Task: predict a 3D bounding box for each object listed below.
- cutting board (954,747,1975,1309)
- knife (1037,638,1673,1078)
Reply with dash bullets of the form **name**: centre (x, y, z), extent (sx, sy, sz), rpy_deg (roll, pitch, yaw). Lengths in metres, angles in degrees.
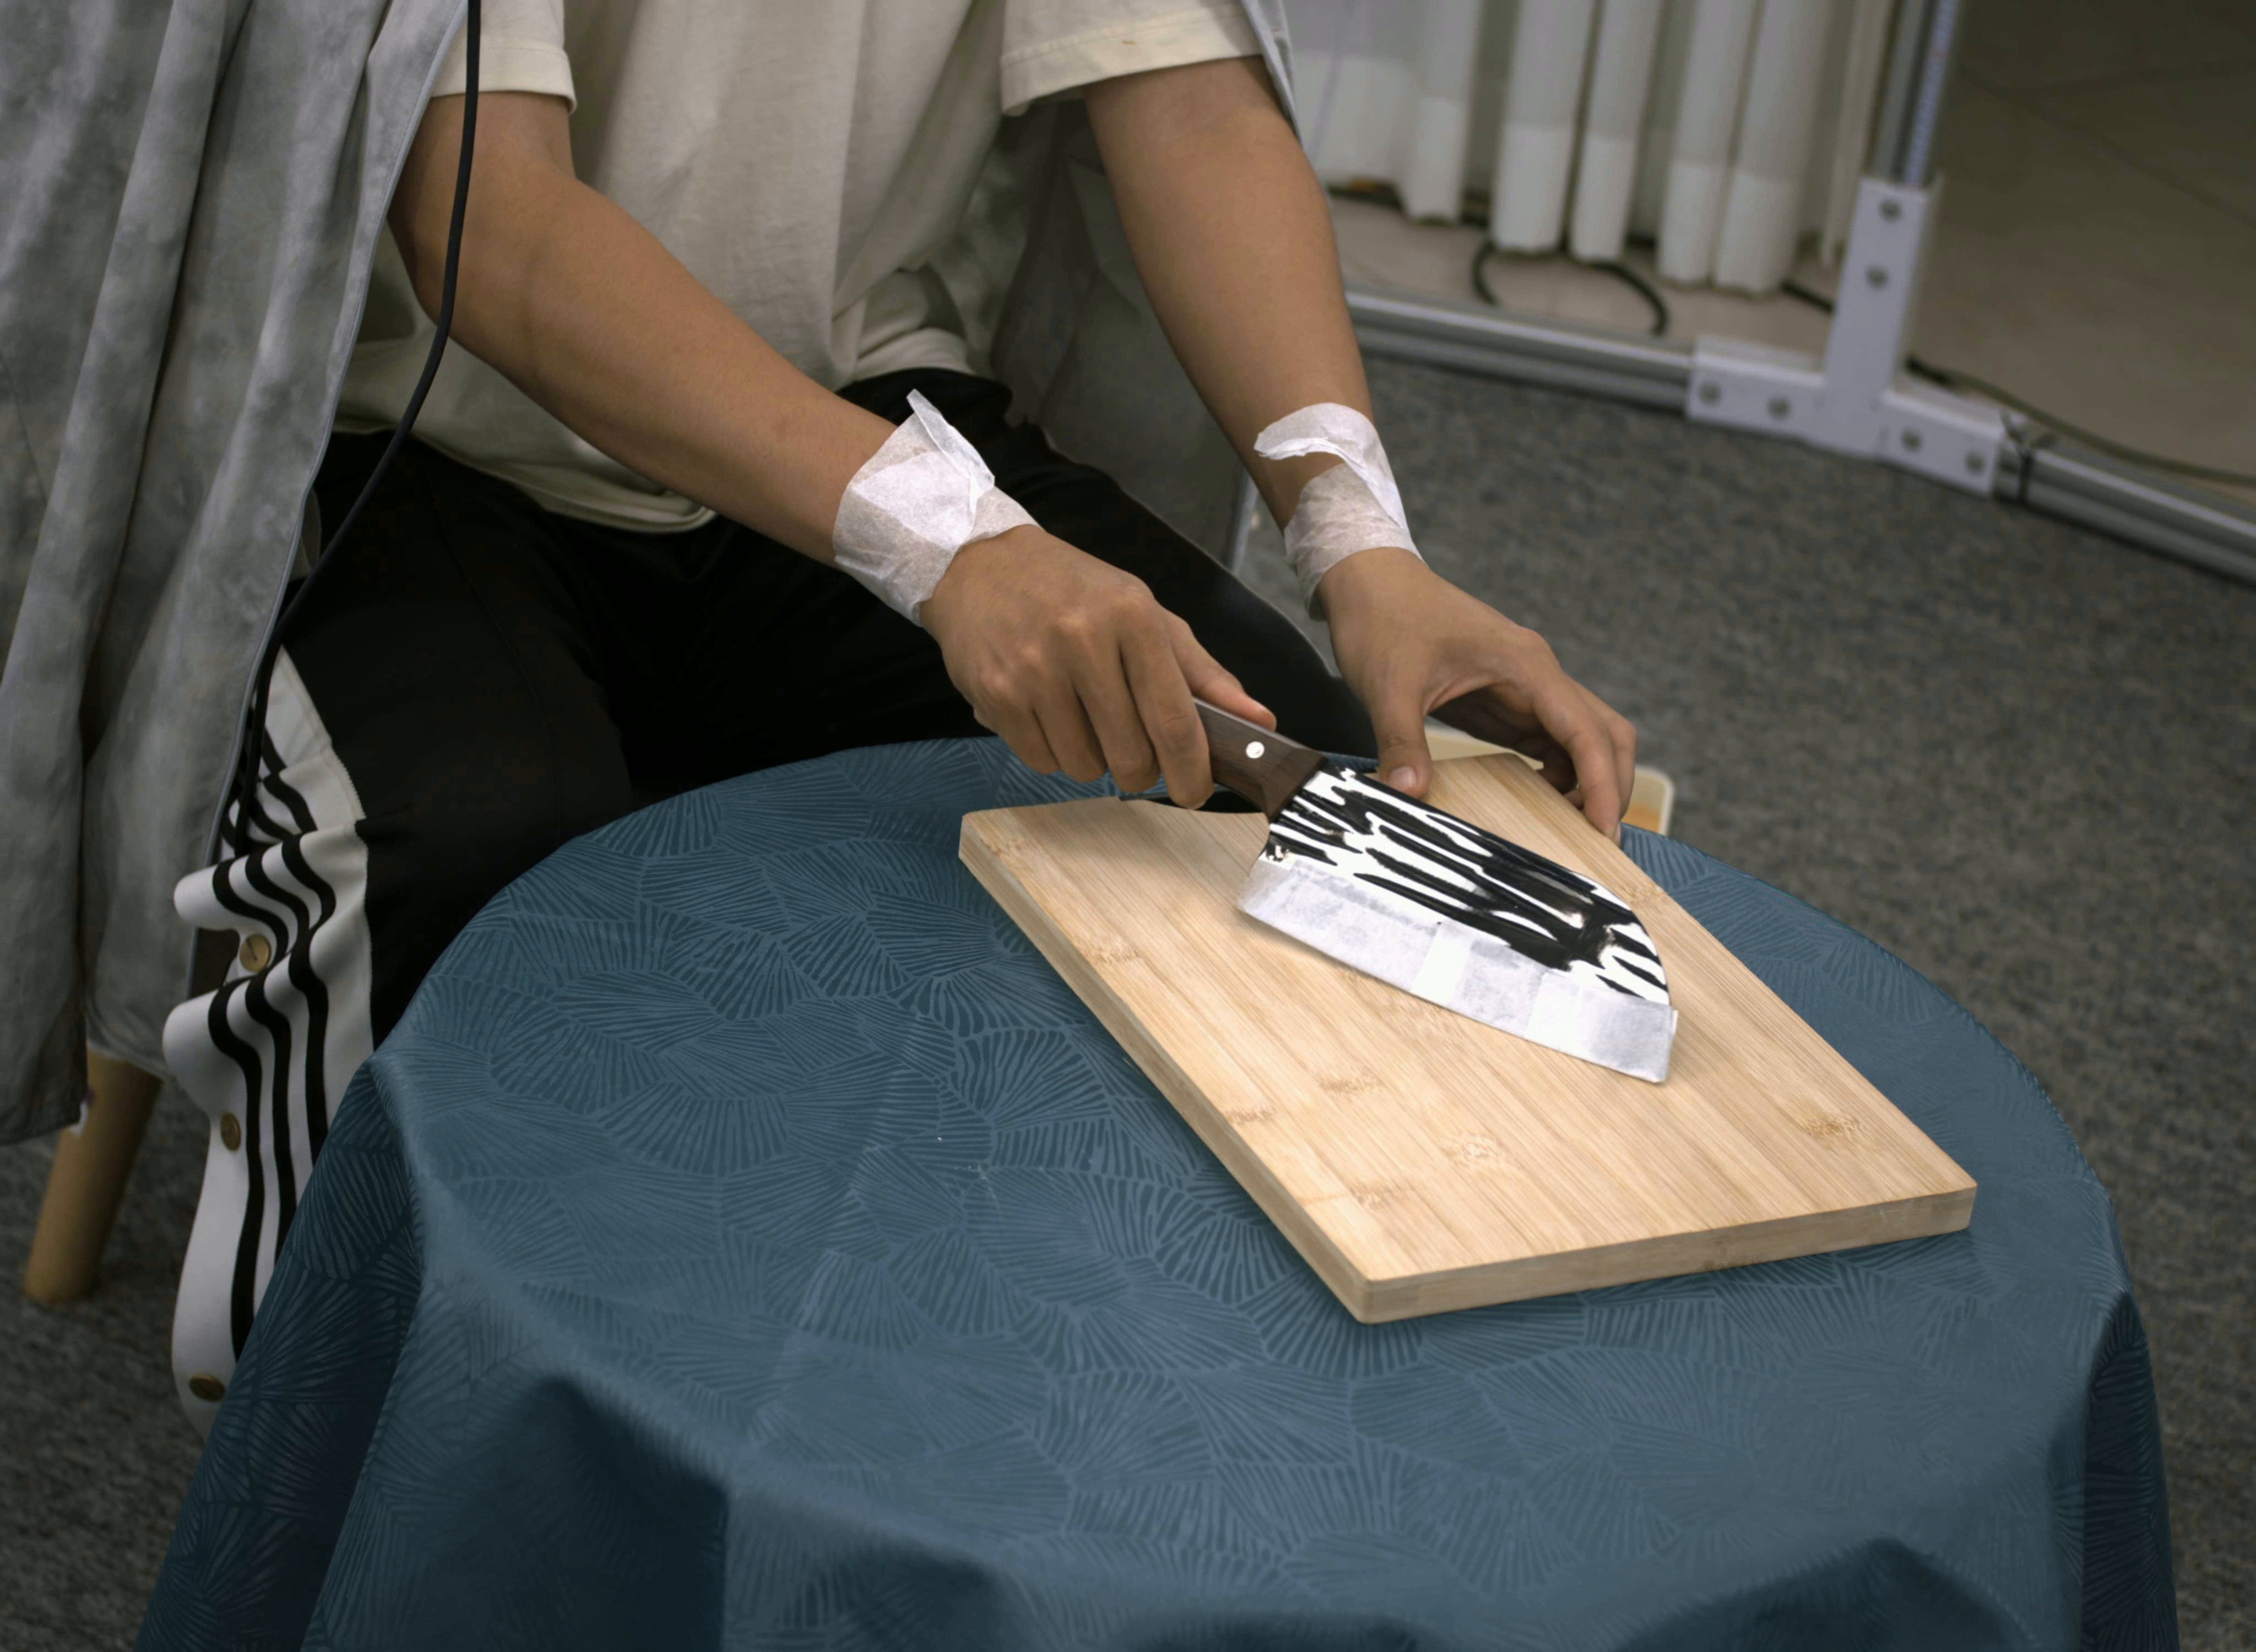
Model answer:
- **cutting board**: centre (0.113, 0.066, 1.926), extent (0.249, 0.023, 0.352), rpy_deg (-7, 29, -25)
- **knife**: centre (0.077, 0.011, 1.943), extent (0.301, 0.024, 0.068), rpy_deg (26, 75, 26)
